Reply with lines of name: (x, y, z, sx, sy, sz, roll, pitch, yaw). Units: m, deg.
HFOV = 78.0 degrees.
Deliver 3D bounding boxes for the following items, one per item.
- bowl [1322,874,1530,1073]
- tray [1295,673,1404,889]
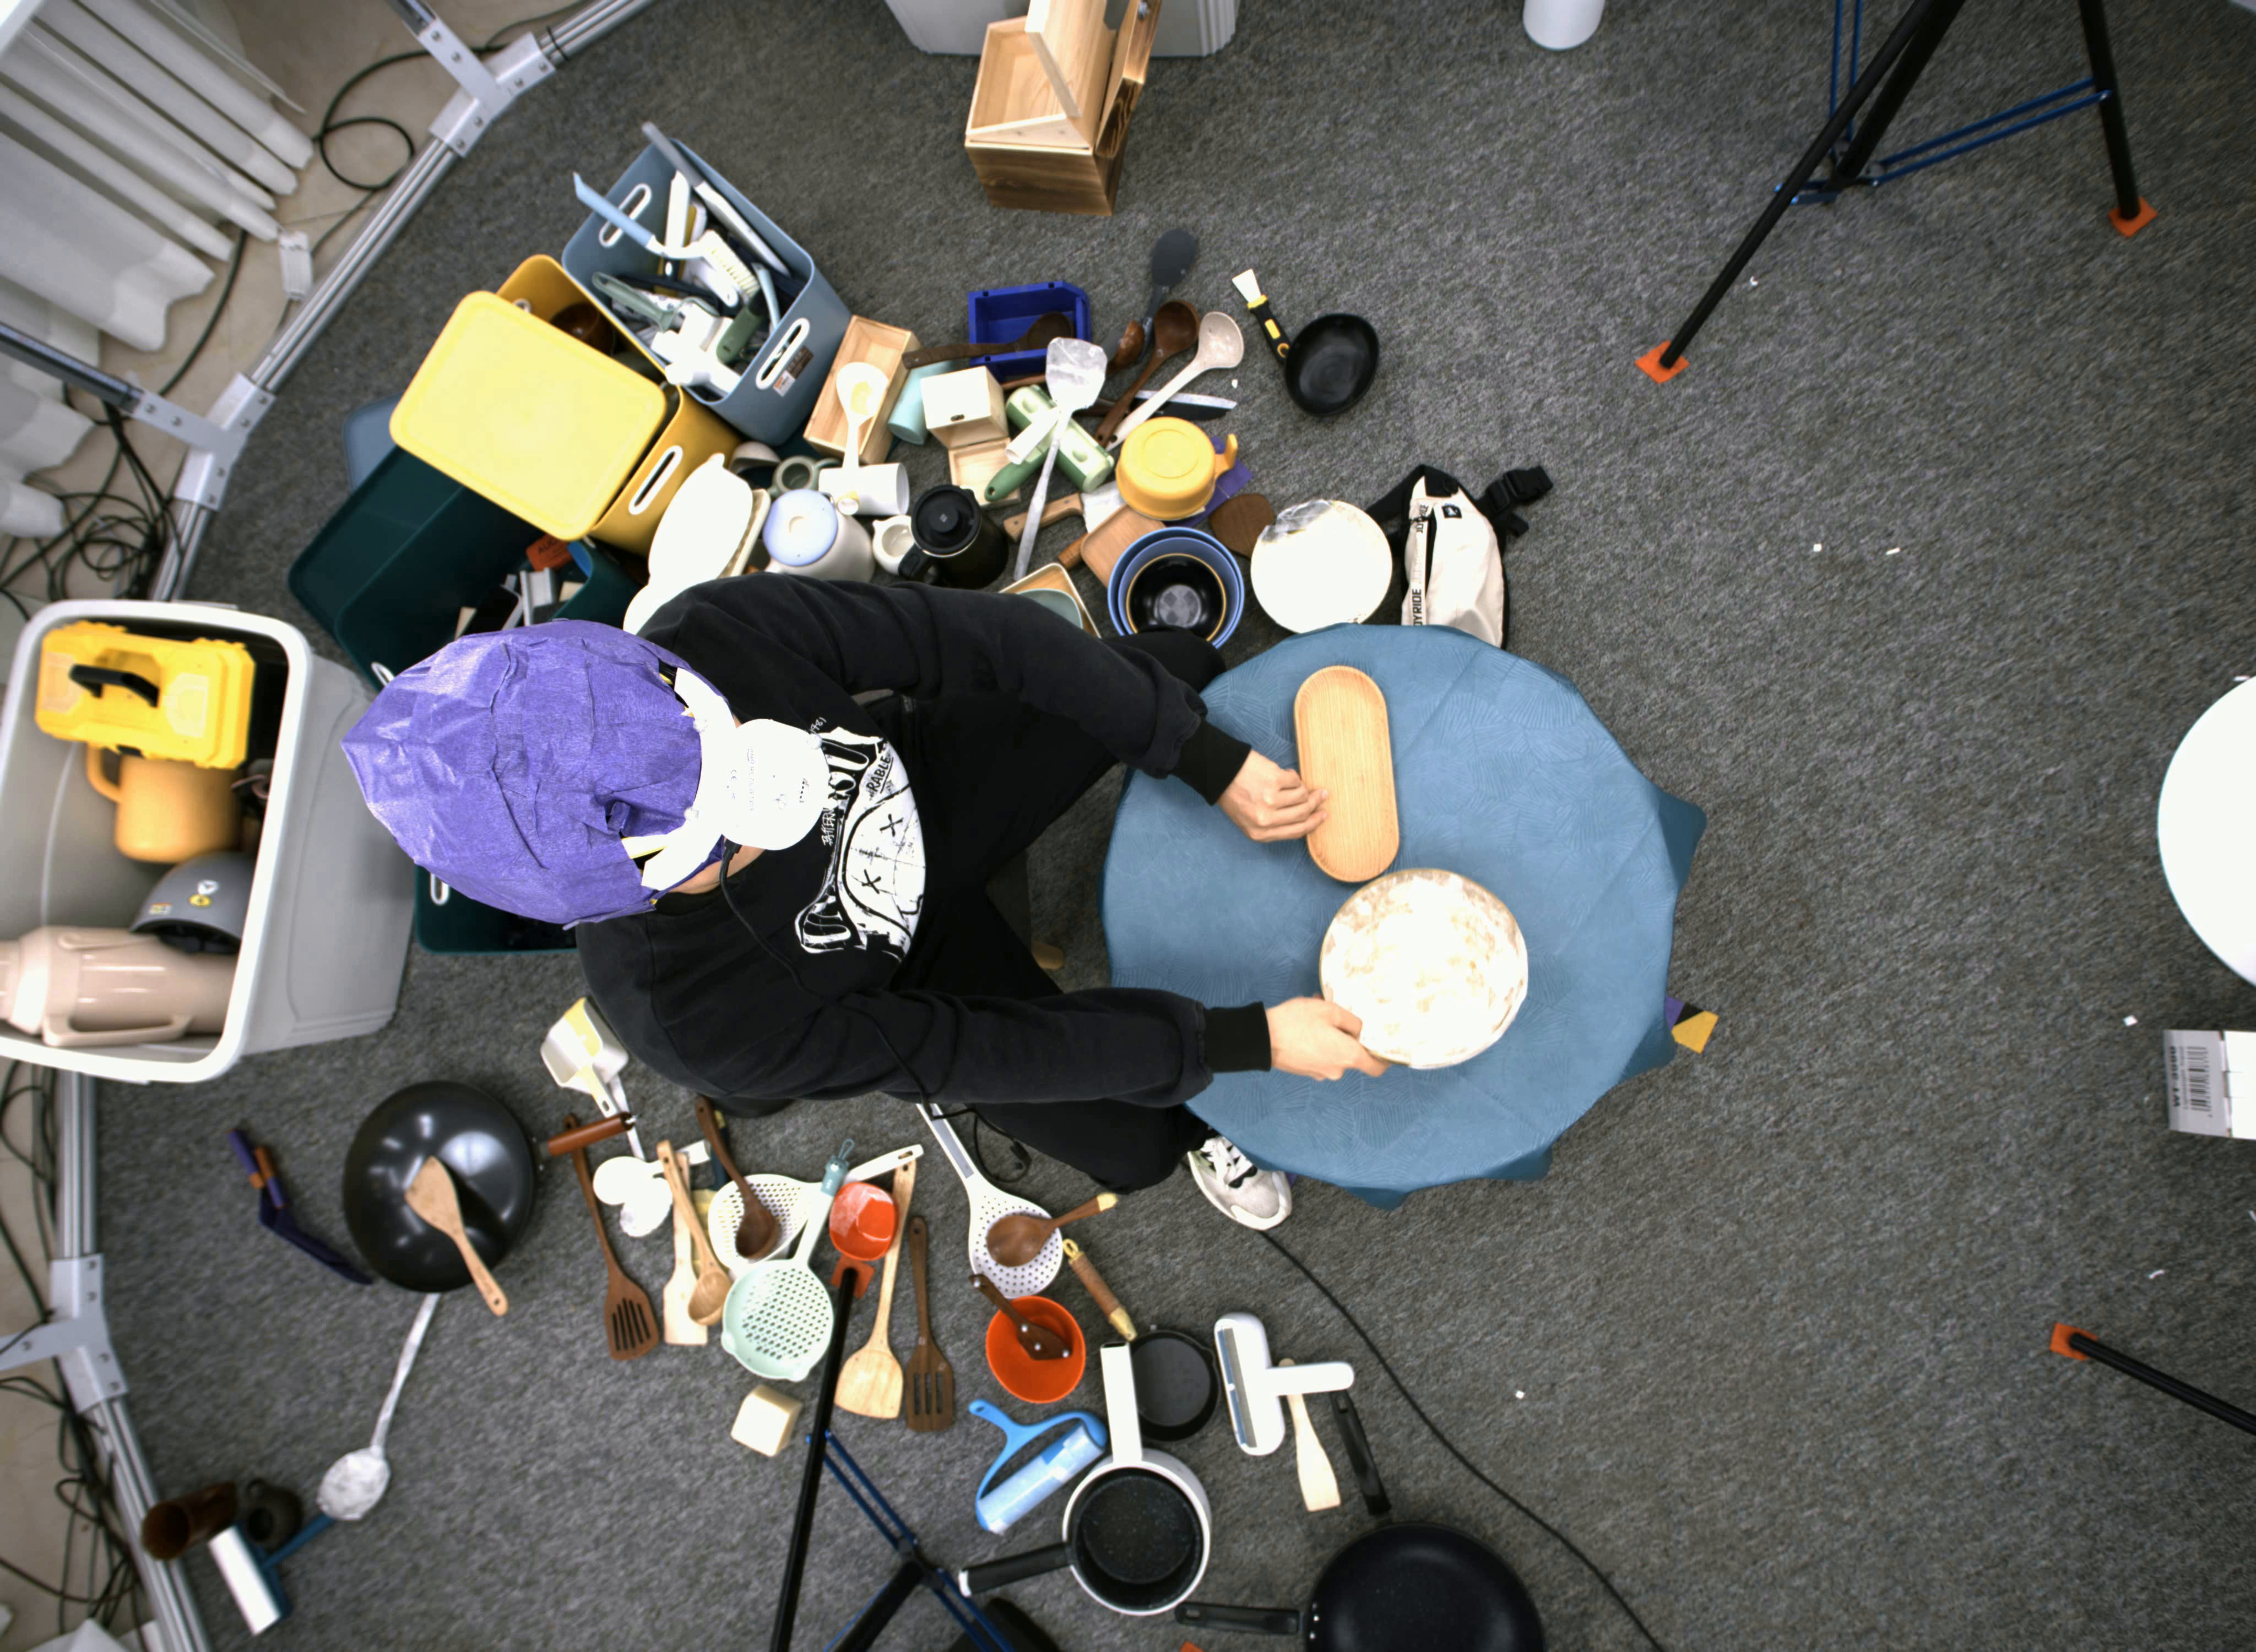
bowl: (0.299, 0.152, 1.384, 0.216, 0.096, 0.210, -8, 64, 17)
tray: (0.234, -0.049, 1.460, 0.101, 0.020, 0.230, -5, 87, -5)
